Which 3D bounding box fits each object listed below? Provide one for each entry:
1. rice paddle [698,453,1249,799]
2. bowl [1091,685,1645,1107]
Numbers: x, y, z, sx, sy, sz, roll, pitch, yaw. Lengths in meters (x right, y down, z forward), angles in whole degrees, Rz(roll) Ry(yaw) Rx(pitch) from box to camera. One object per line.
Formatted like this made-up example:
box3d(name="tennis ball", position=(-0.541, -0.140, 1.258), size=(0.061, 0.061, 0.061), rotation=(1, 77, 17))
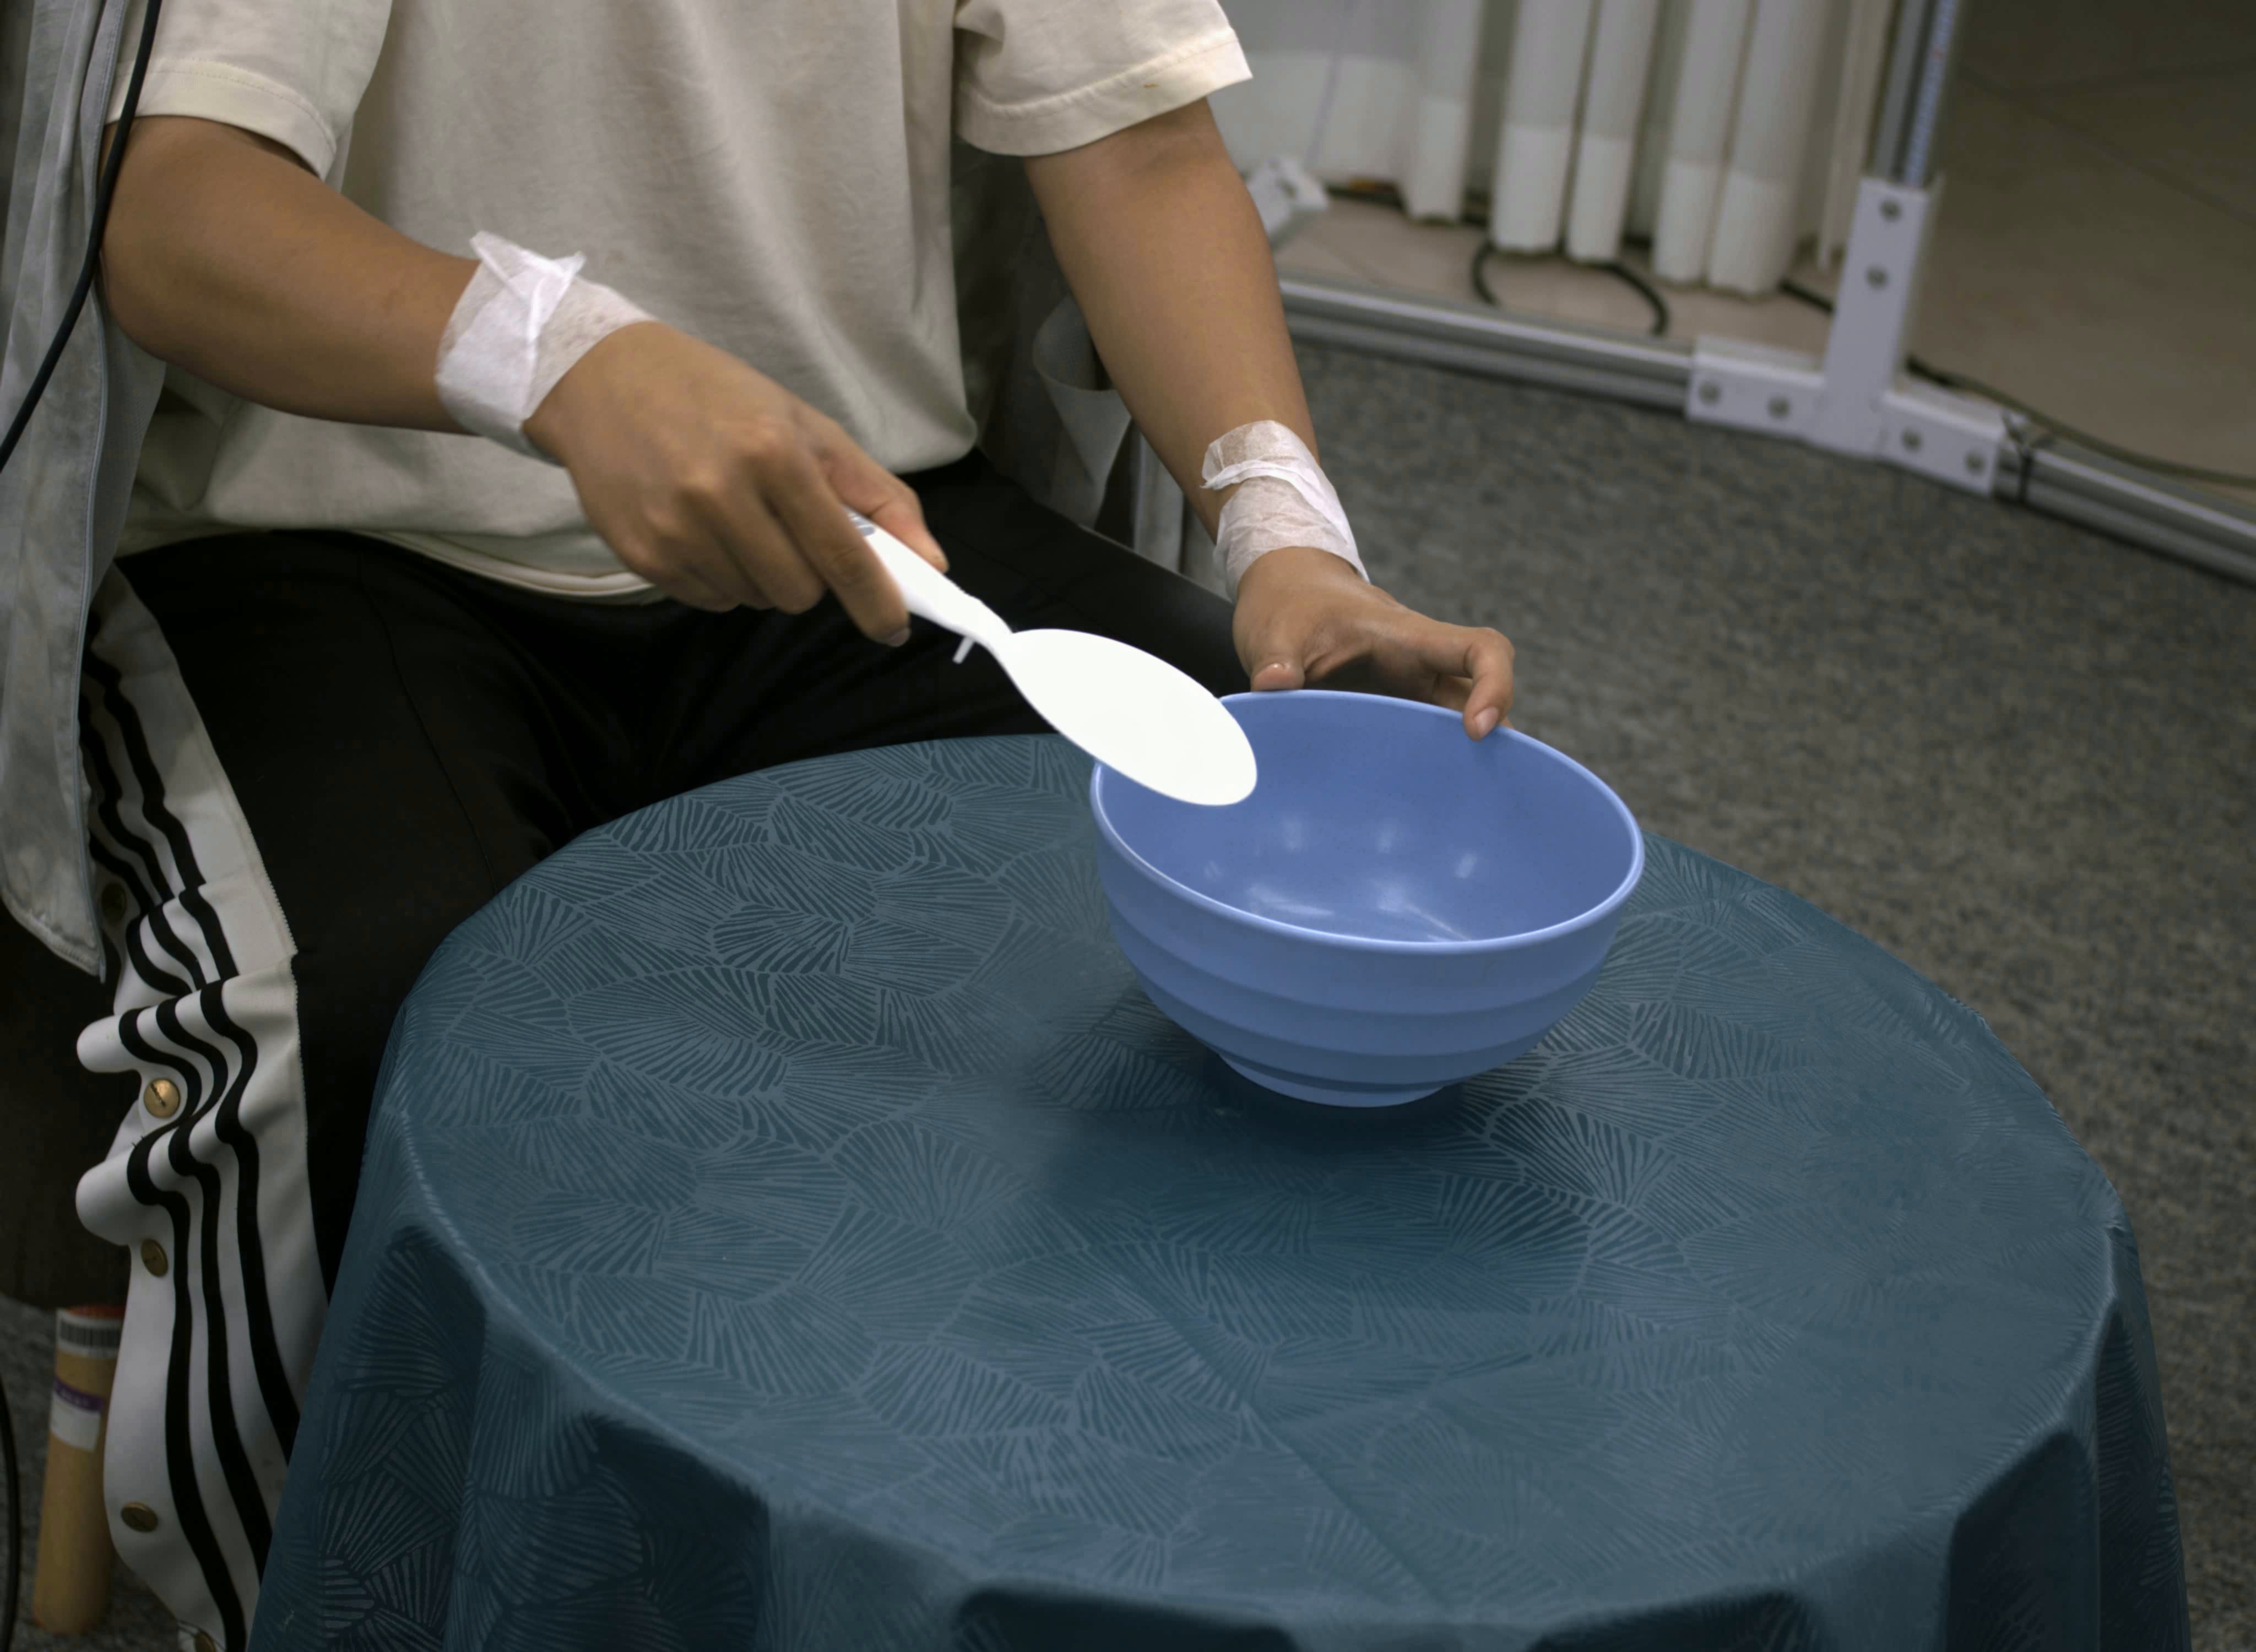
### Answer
box3d(name="rice paddle", position=(-0.048, -0.066, 1.800), size=(0.205, 0.029, 0.069), rotation=(28, 38, -3))
box3d(name="bowl", position=(0.079, 0.036, 1.890), size=(0.196, 0.095, 0.198), rotation=(5, 28, -3))
